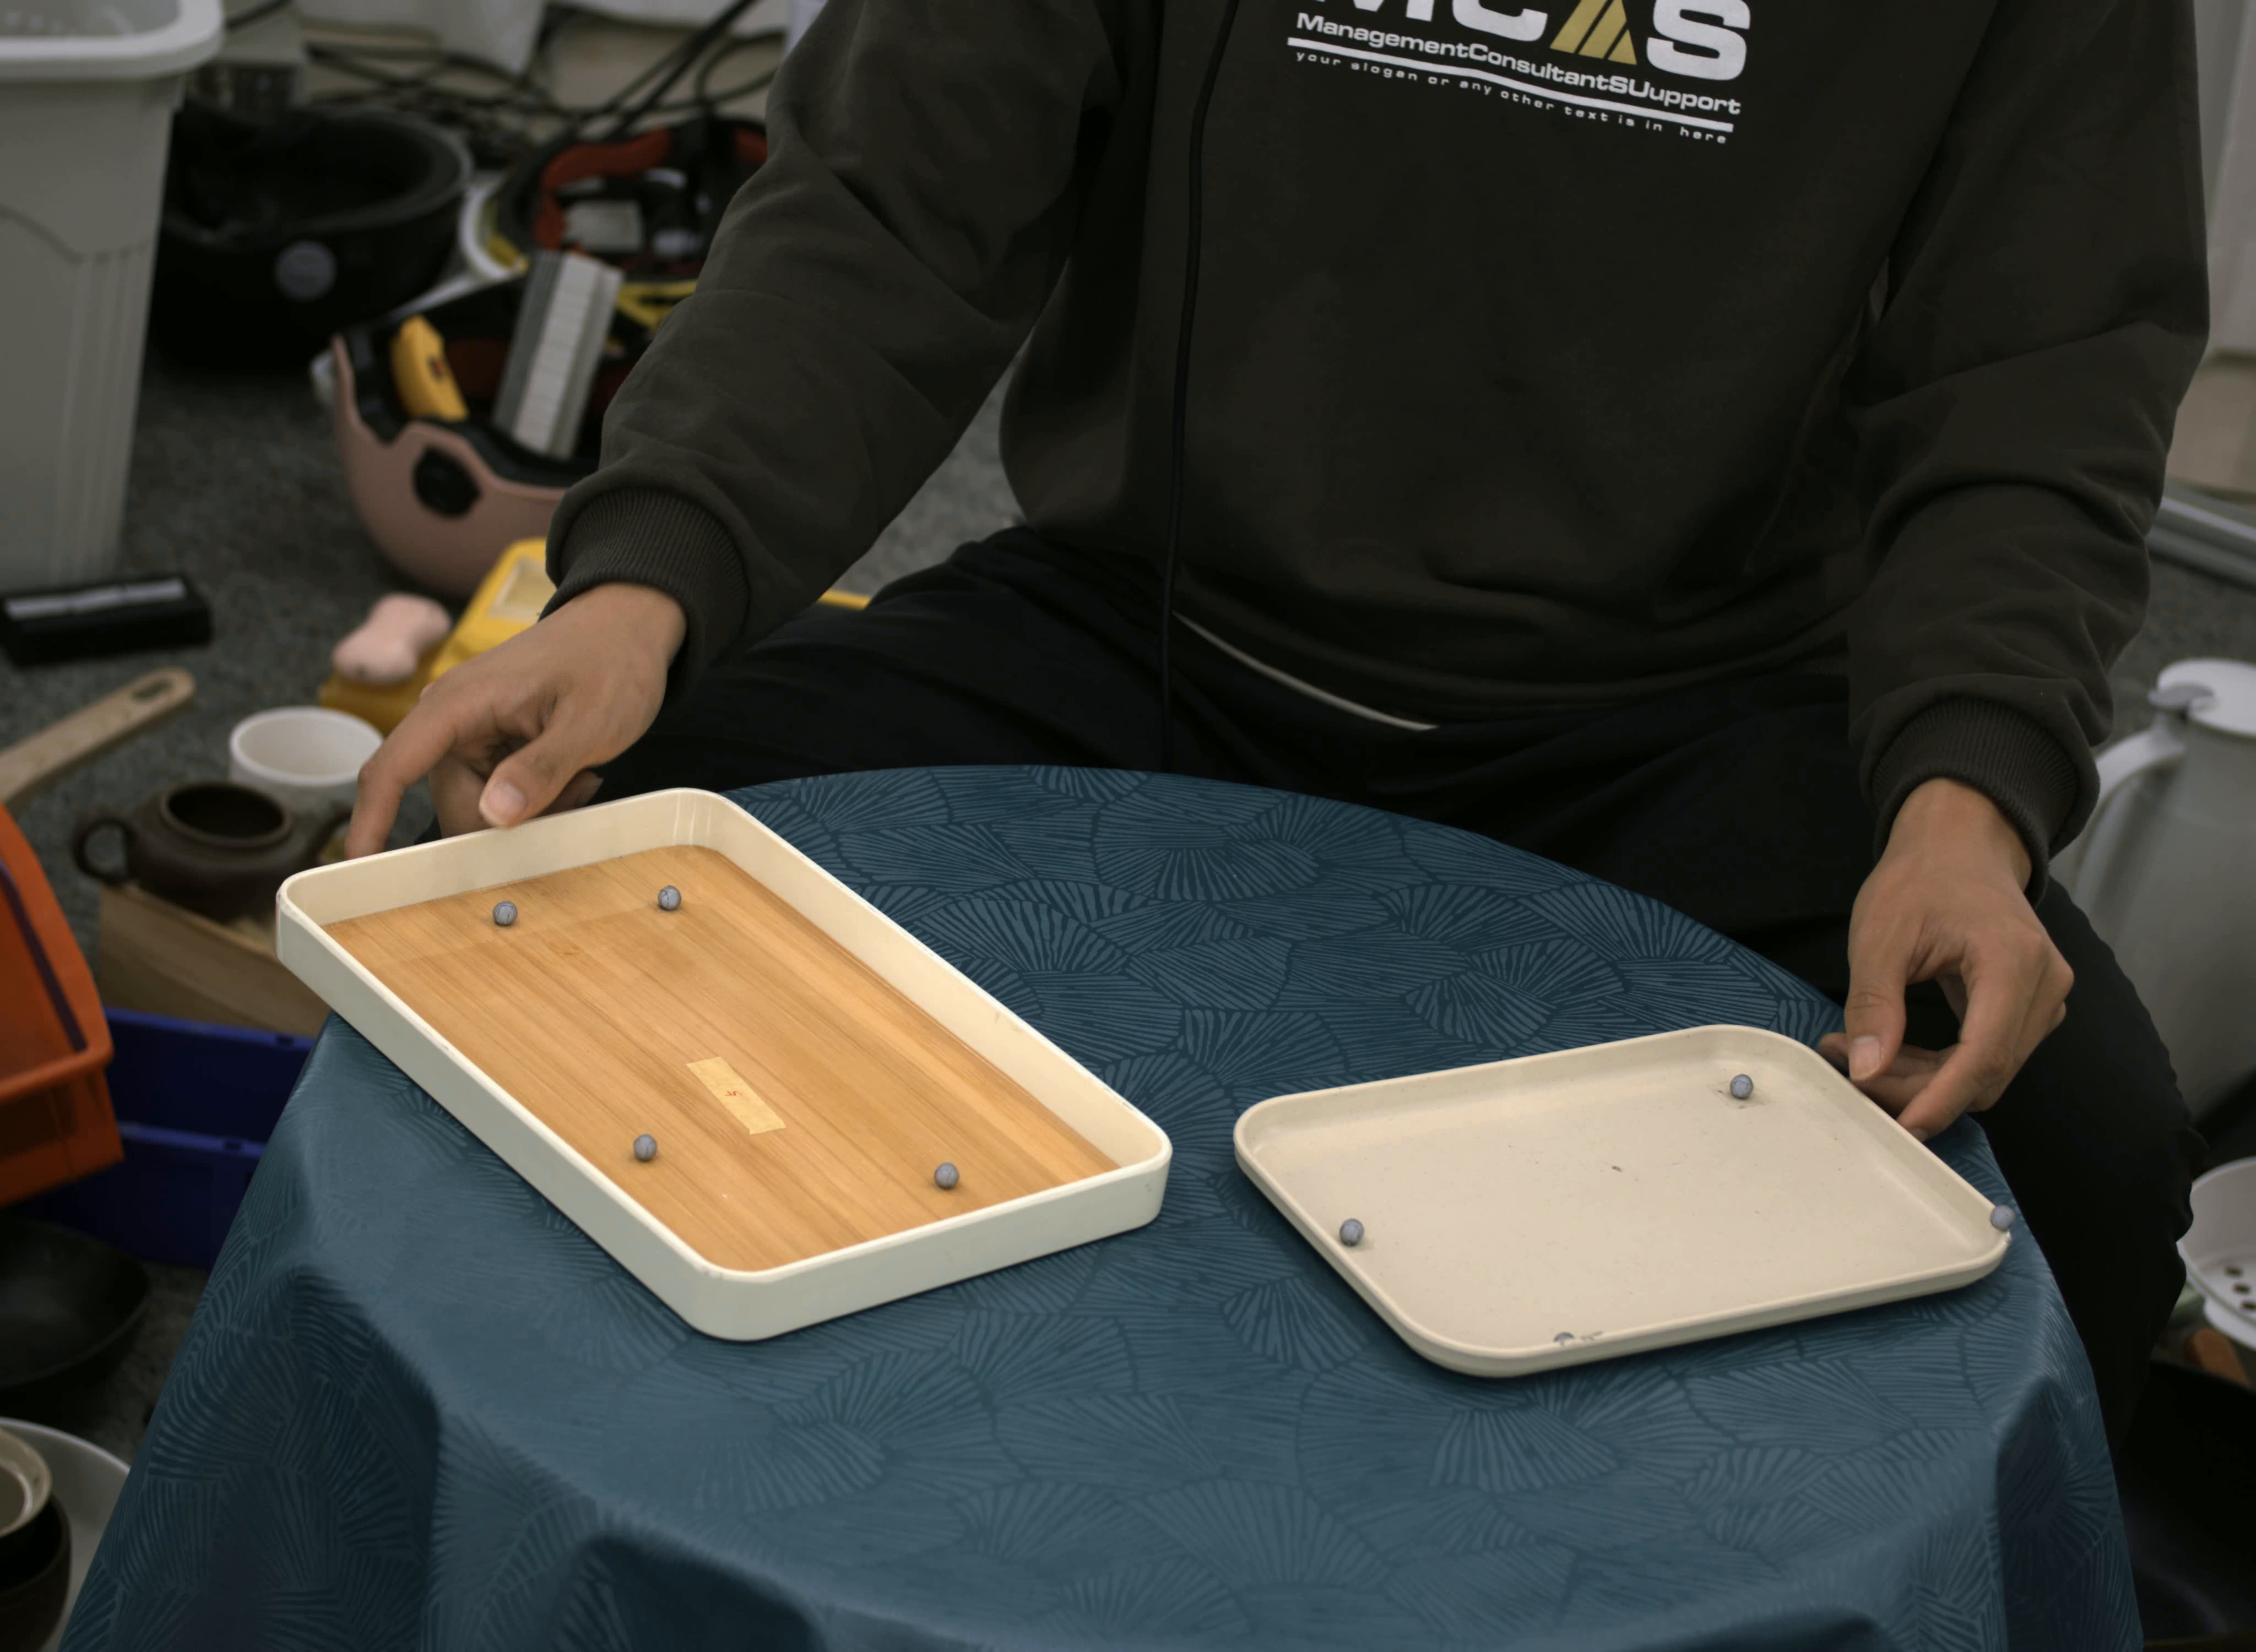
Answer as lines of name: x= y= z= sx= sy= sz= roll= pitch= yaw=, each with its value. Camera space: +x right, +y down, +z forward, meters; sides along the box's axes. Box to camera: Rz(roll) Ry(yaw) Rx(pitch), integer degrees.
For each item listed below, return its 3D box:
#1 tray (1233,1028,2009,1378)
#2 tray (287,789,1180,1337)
tray: x=0.167 y=0.128 z=1.819 sx=0.238 sy=0.017 sz=0.173 roll=-8 pitch=29 yaw=-27
tray: x=-0.141 y=0.076 z=1.837 sx=0.190 sy=0.027 sz=0.303 roll=-14 pitch=33 yaw=-35
